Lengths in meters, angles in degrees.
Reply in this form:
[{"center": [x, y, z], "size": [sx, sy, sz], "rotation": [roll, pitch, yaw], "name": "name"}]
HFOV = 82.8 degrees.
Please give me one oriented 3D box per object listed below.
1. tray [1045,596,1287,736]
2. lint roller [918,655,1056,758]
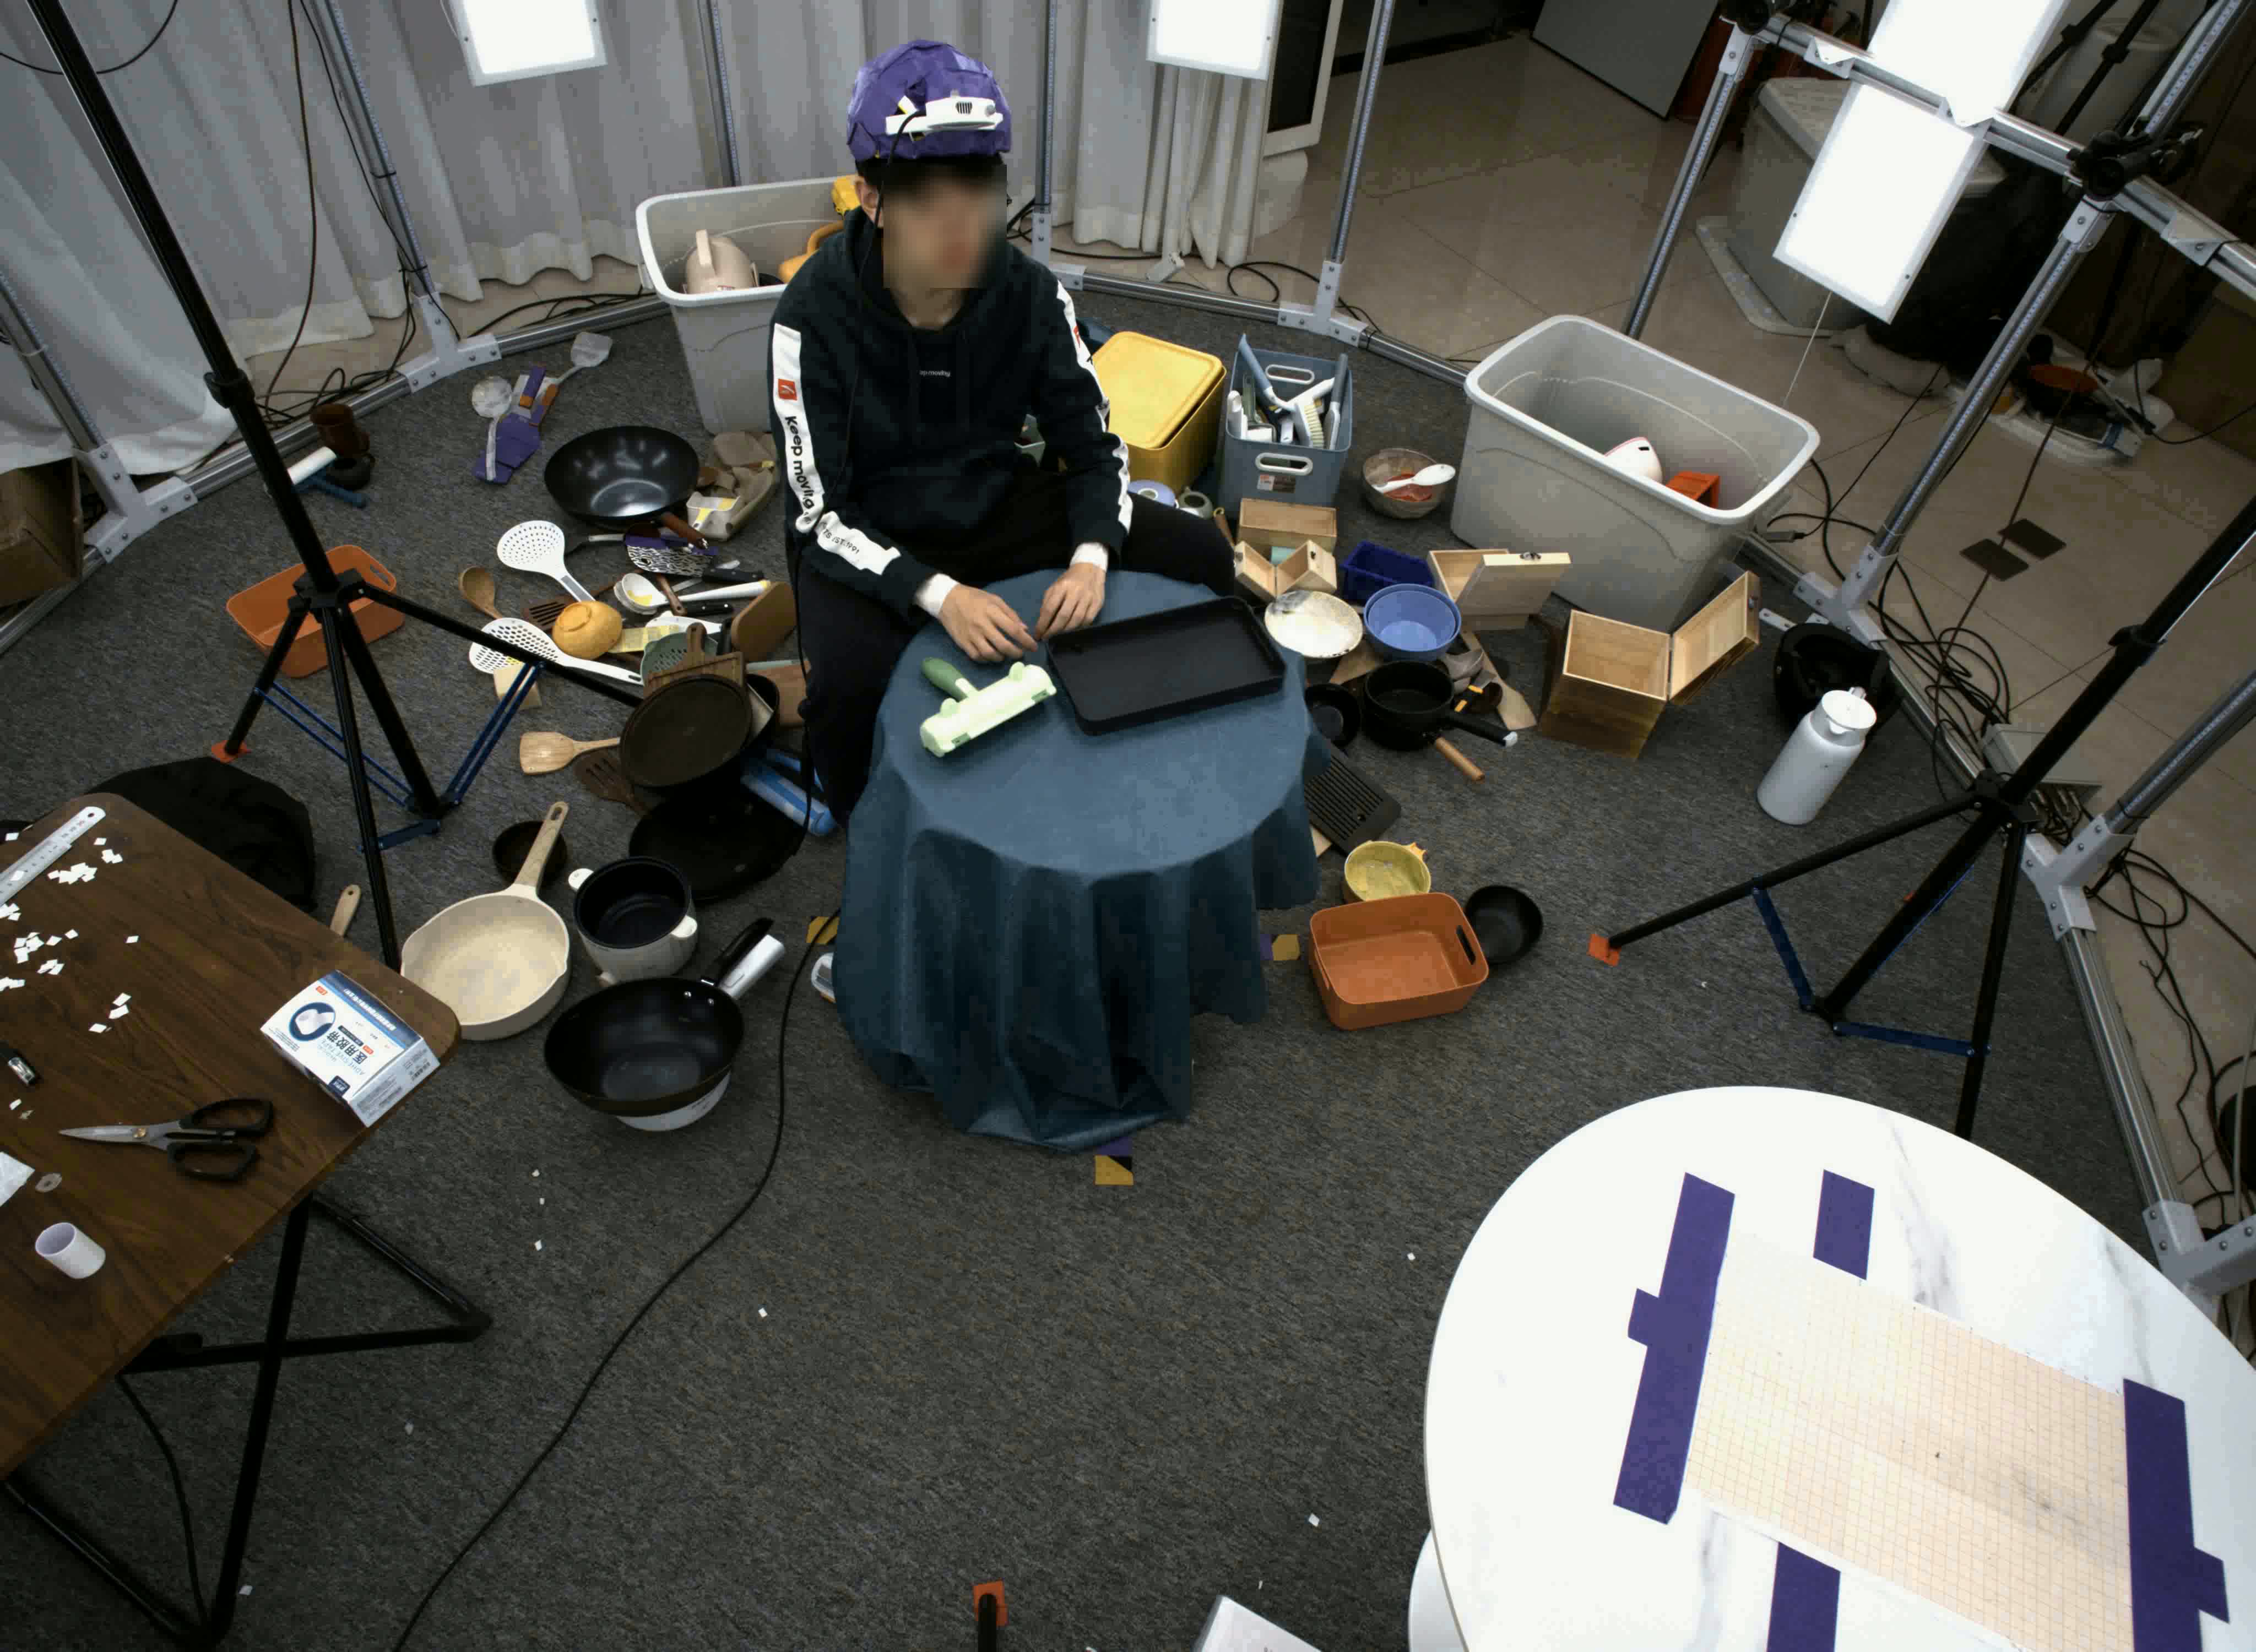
[{"center": [0.053, -0.234, 1.851], "size": [0.318, 0.036, 0.188], "rotation": [-14, 52, -16], "name": "tray"}, {"center": [-0.227, -0.198, 1.774], "size": [0.200, 0.080, 0.186], "rotation": [-32, 61, -27], "name": "lint roller"}]
